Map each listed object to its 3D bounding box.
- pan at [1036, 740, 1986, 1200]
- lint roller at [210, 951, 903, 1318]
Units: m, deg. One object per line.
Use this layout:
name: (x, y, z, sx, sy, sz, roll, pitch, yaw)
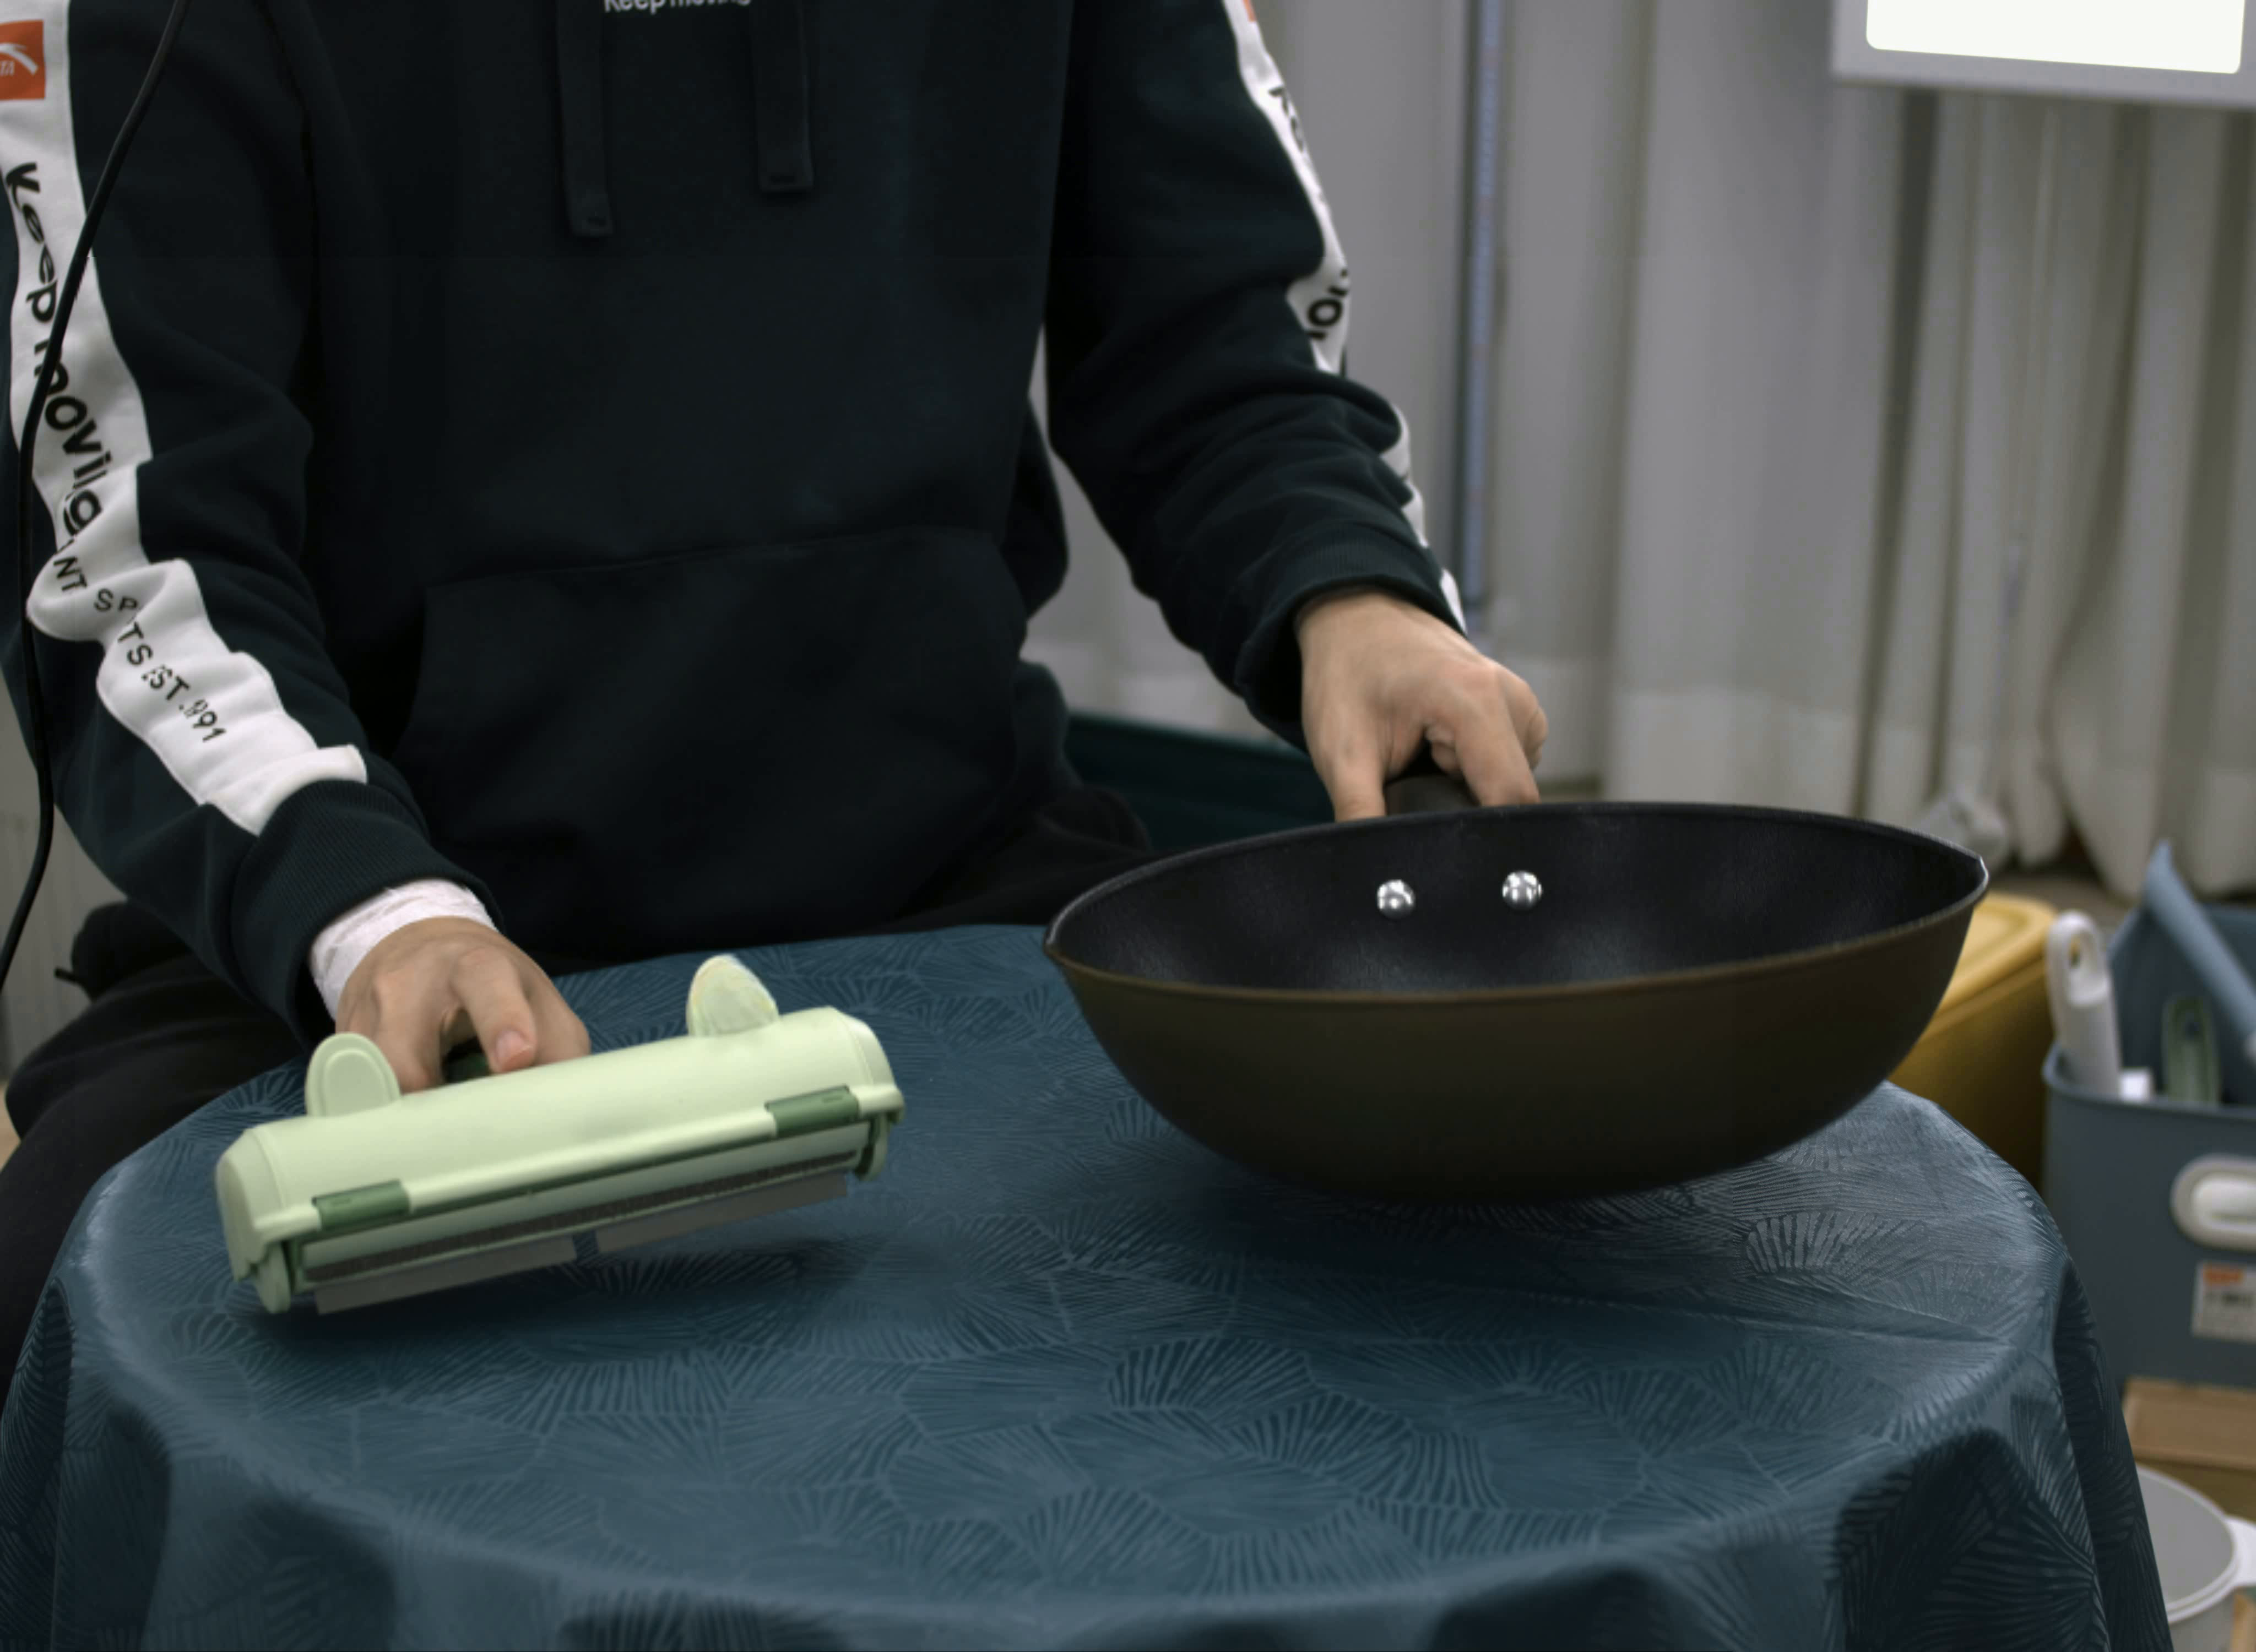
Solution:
pan: (0.110, 0.042, 1.677, 0.287, 0.087, 0.461, -5, 9, -5)
lint roller: (-0.186, 0.075, 1.567, 0.199, 0.083, 0.181, -12, 20, -20)
